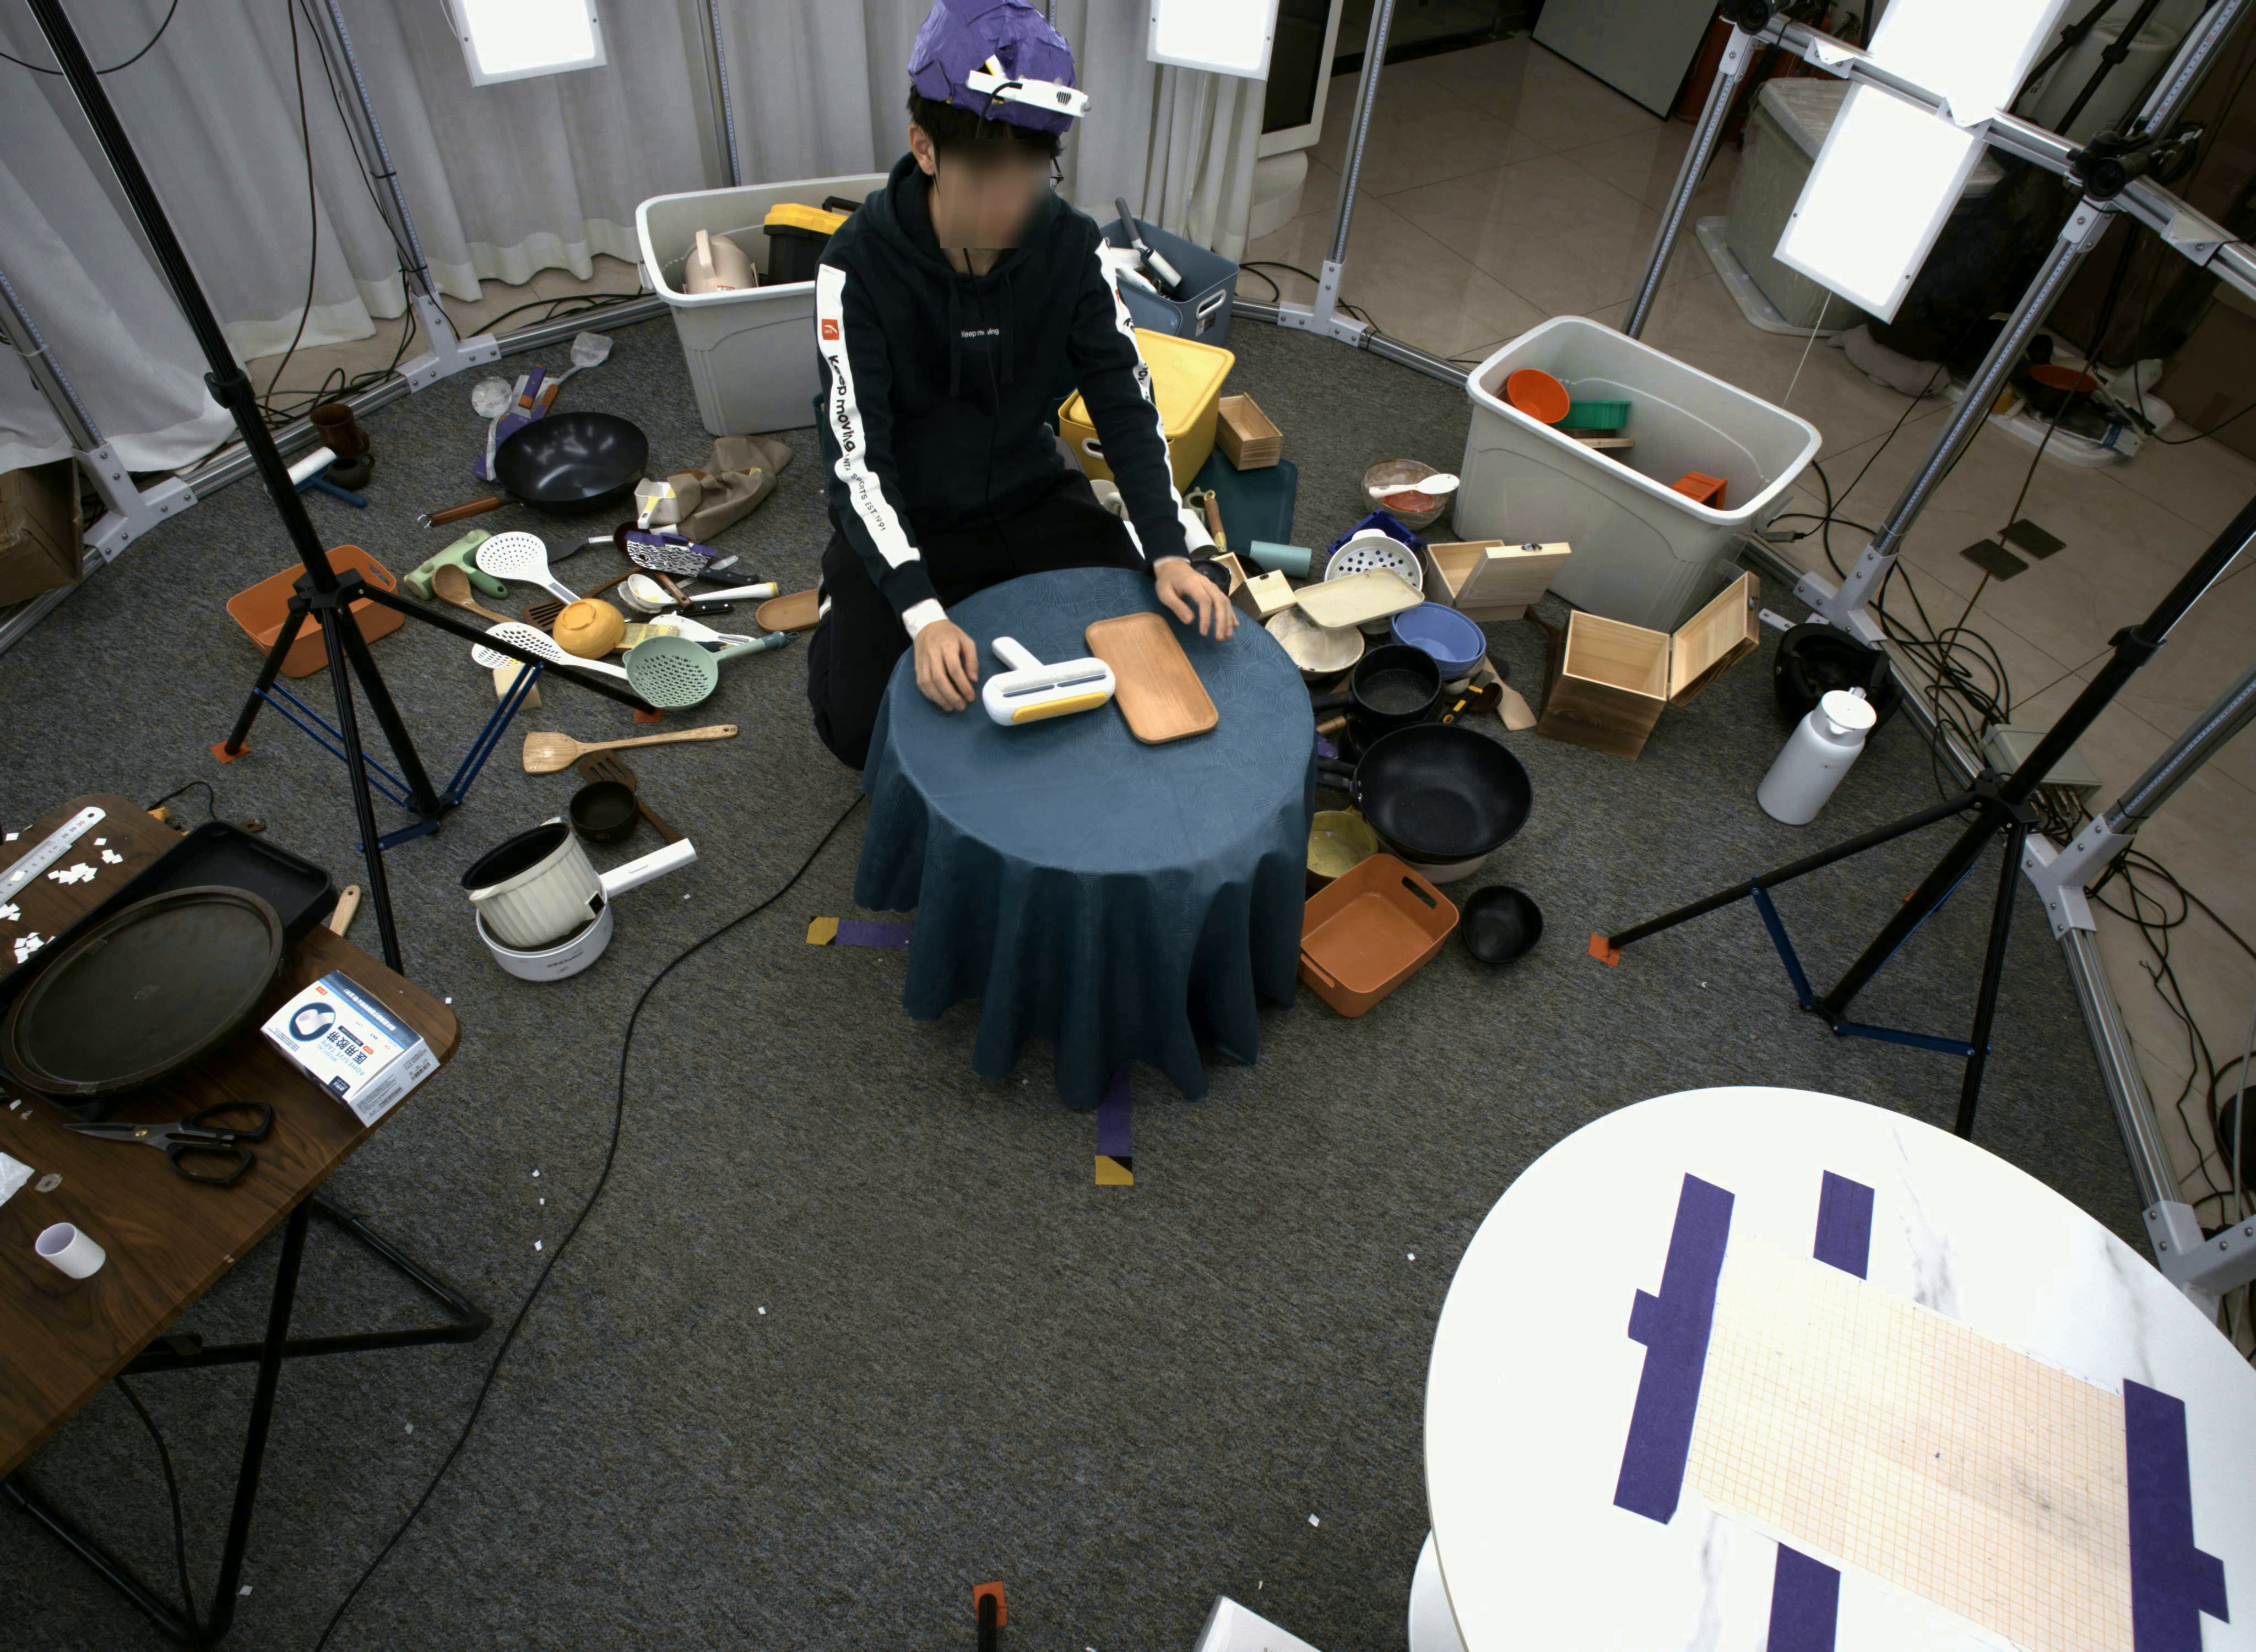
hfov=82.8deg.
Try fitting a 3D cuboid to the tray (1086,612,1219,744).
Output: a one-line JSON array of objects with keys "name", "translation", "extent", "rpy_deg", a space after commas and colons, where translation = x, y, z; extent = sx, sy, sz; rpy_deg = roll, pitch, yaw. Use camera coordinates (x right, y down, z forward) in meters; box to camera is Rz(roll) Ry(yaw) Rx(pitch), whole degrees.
[{"name": "tray", "translation": [0.032, -0.216, 1.846], "extent": [0.130, 0.022, 0.257], "rpy_deg": [-12, 50, -16]}]

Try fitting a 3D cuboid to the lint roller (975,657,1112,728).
[{"name": "lint roller", "translation": [-0.139, -0.205, 1.817], "extent": [0.193, 0.072, 0.197], "rpy_deg": [-12, 37, -22]}]
